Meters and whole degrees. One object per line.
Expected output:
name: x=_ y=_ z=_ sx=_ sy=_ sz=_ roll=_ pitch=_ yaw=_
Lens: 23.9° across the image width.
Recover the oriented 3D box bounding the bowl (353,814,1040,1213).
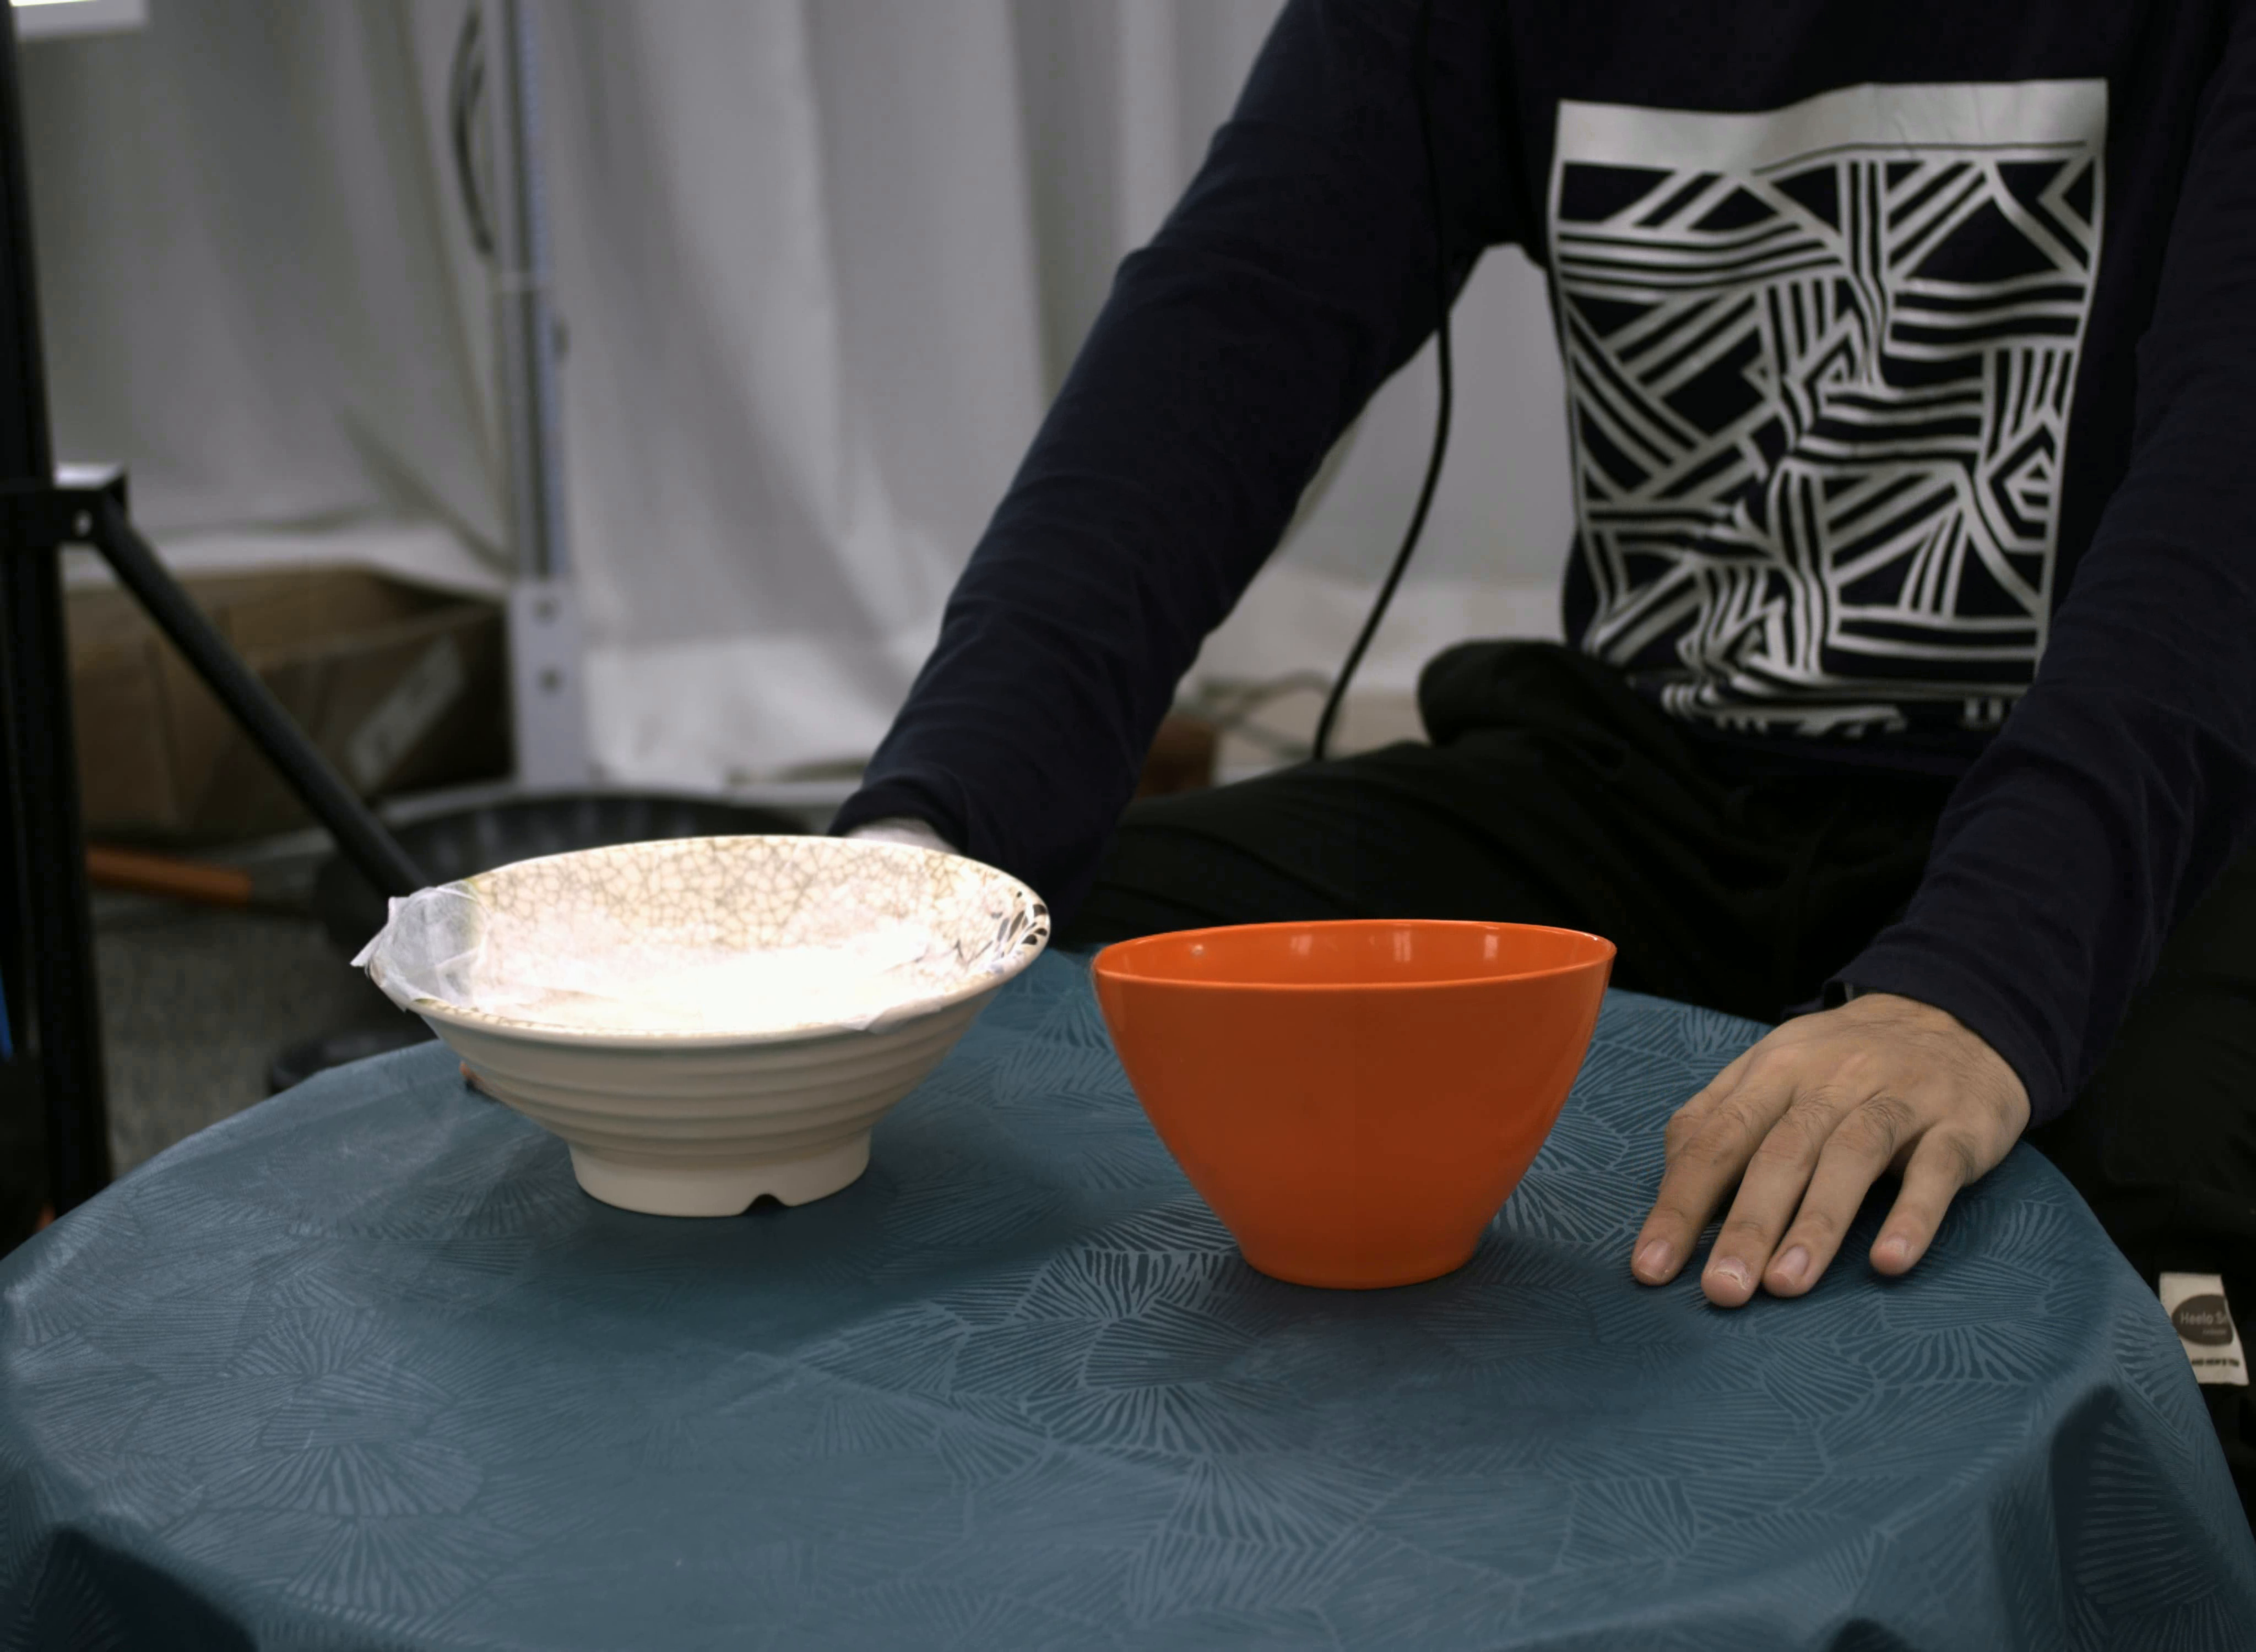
bowl: x=-0.127 y=0.064 z=1.590 sx=0.203 sy=0.078 sz=0.205 roll=-2 pitch=17 yaw=-1

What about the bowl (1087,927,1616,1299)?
bowl: x=0.063 y=0.076 z=1.482 sx=0.147 sy=0.105 sz=0.149 roll=-2 pitch=13 yaw=-1
